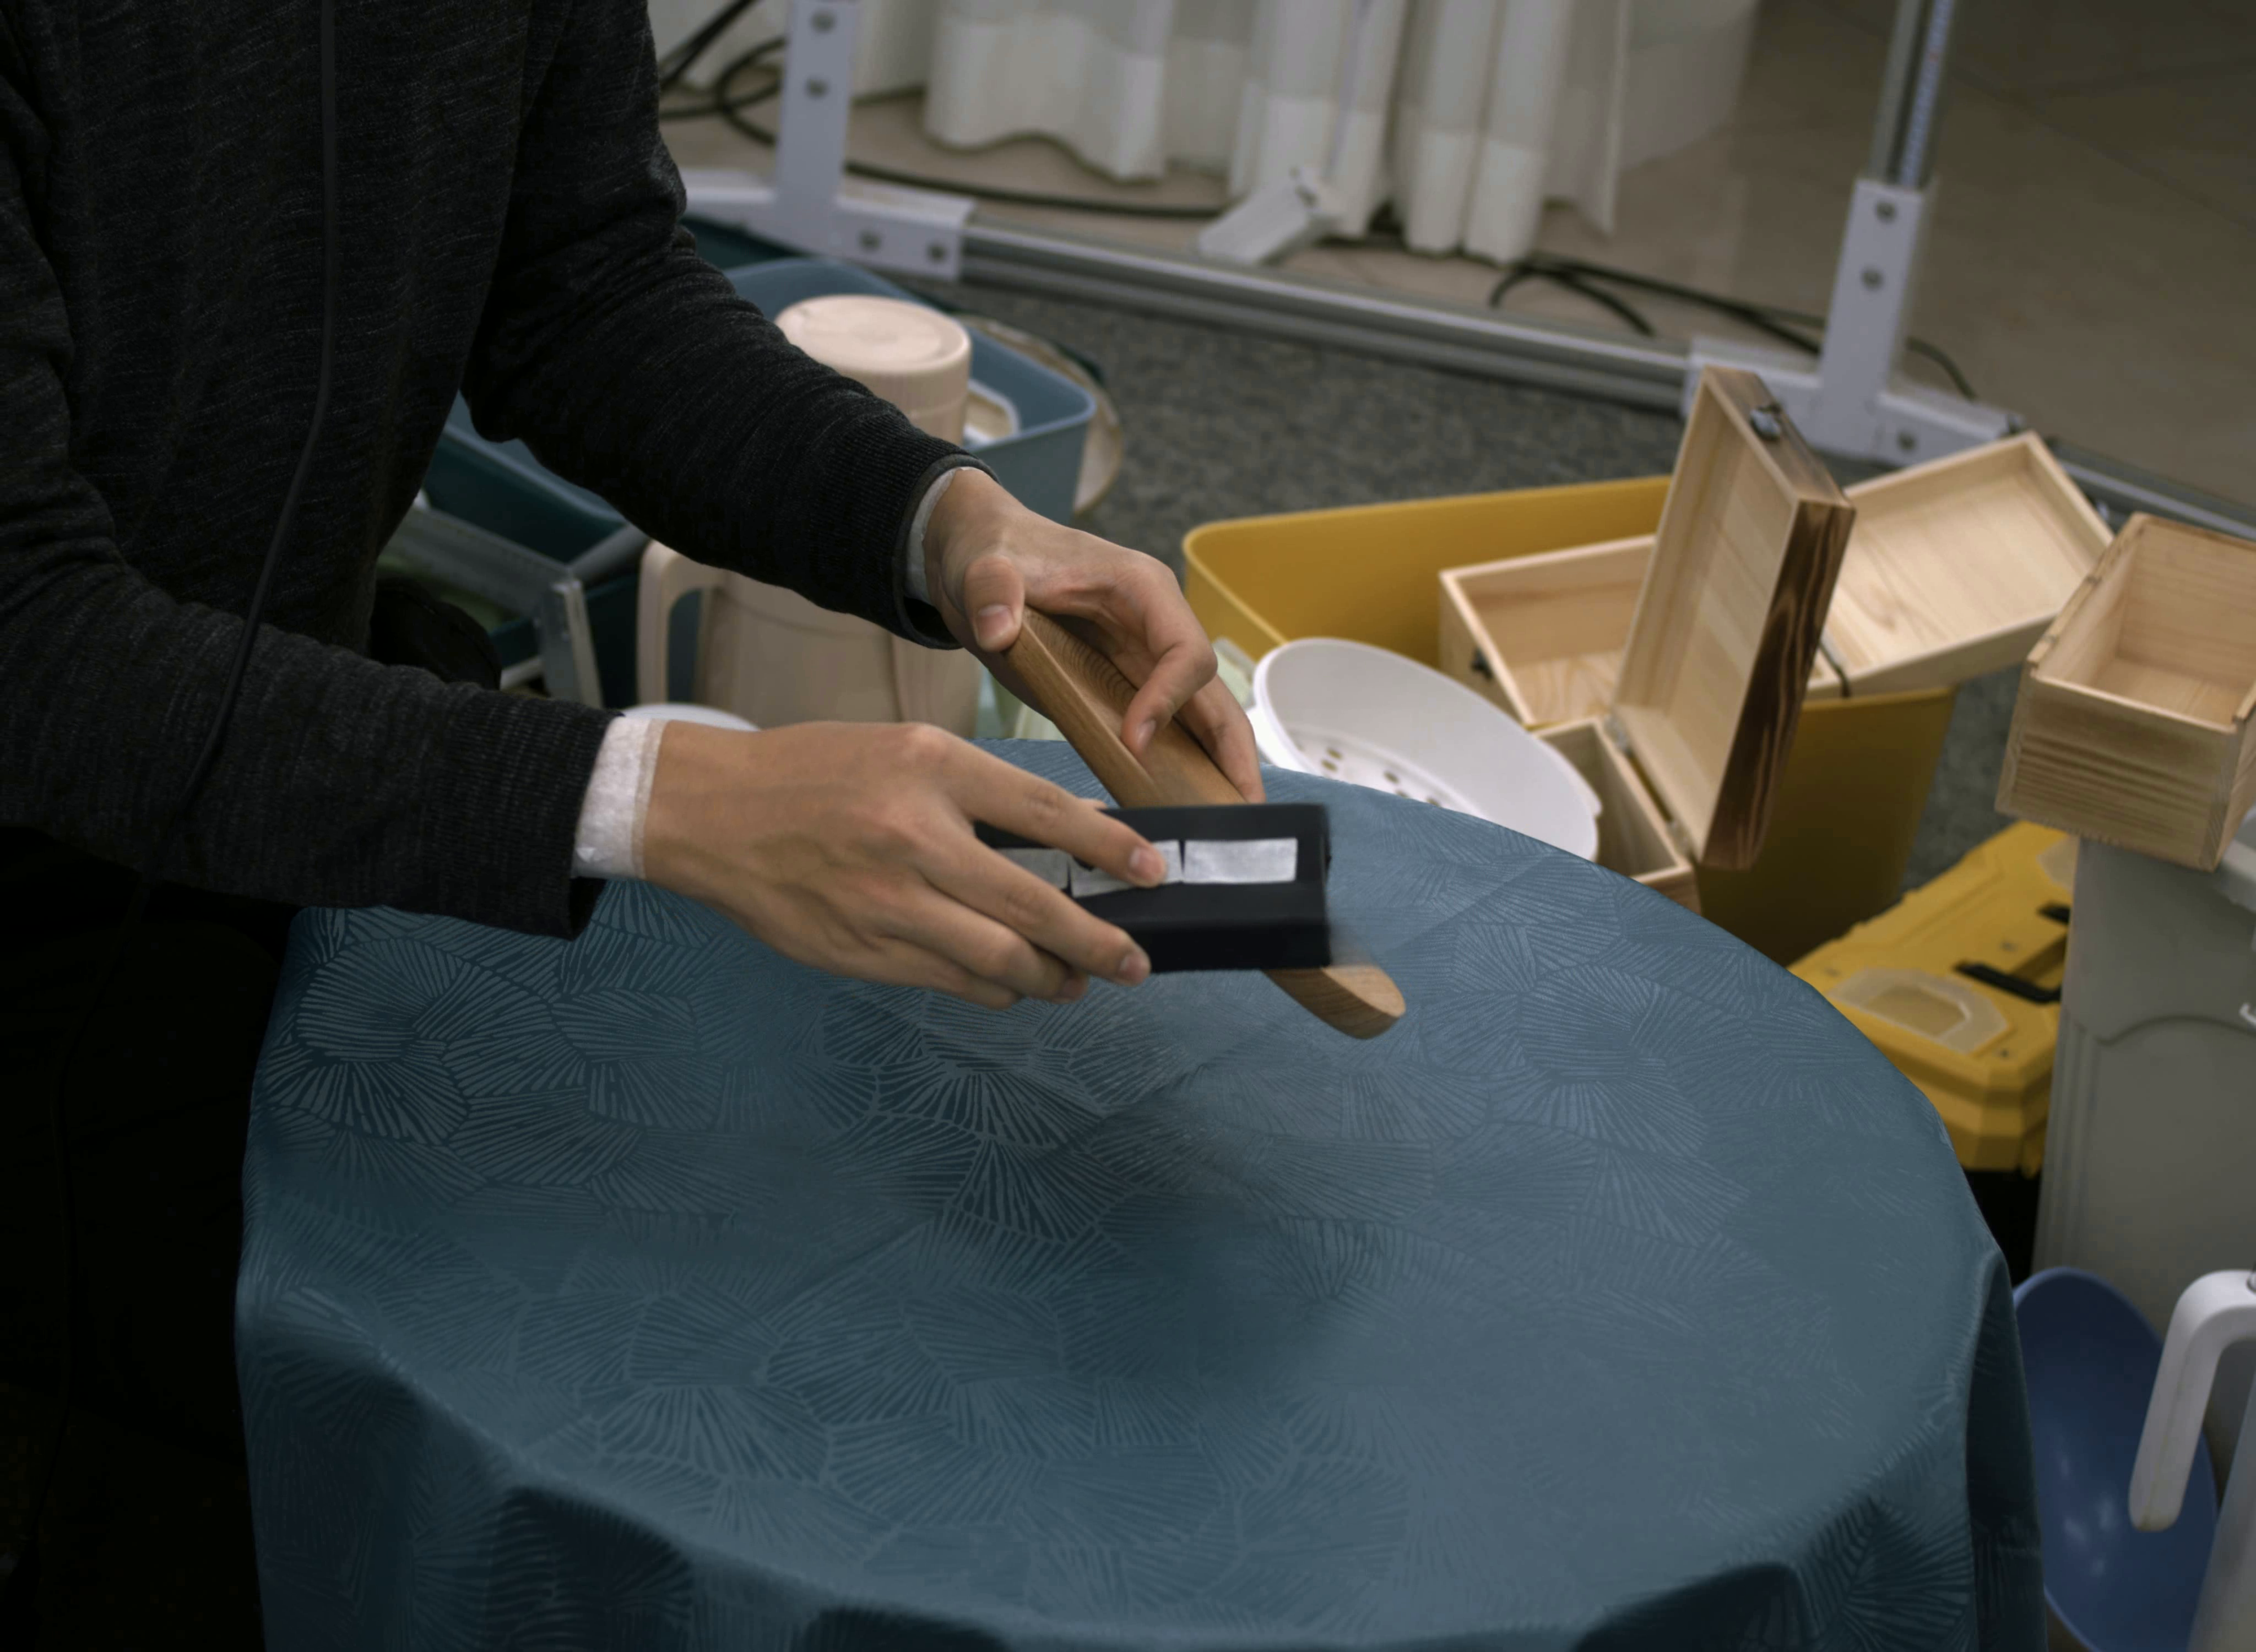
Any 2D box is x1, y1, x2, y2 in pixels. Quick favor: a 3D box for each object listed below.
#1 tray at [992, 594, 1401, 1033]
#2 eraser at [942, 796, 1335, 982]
[{"bbox_3d":[0.021,-0.005,1.828,0.100,0.020,0.233,34,12,-44],"label":"tray"},{"bbox_3d":[0.003,0.020,1.719,0.125,0.030,0.054,-3,52,1],"label":"eraser"}]
